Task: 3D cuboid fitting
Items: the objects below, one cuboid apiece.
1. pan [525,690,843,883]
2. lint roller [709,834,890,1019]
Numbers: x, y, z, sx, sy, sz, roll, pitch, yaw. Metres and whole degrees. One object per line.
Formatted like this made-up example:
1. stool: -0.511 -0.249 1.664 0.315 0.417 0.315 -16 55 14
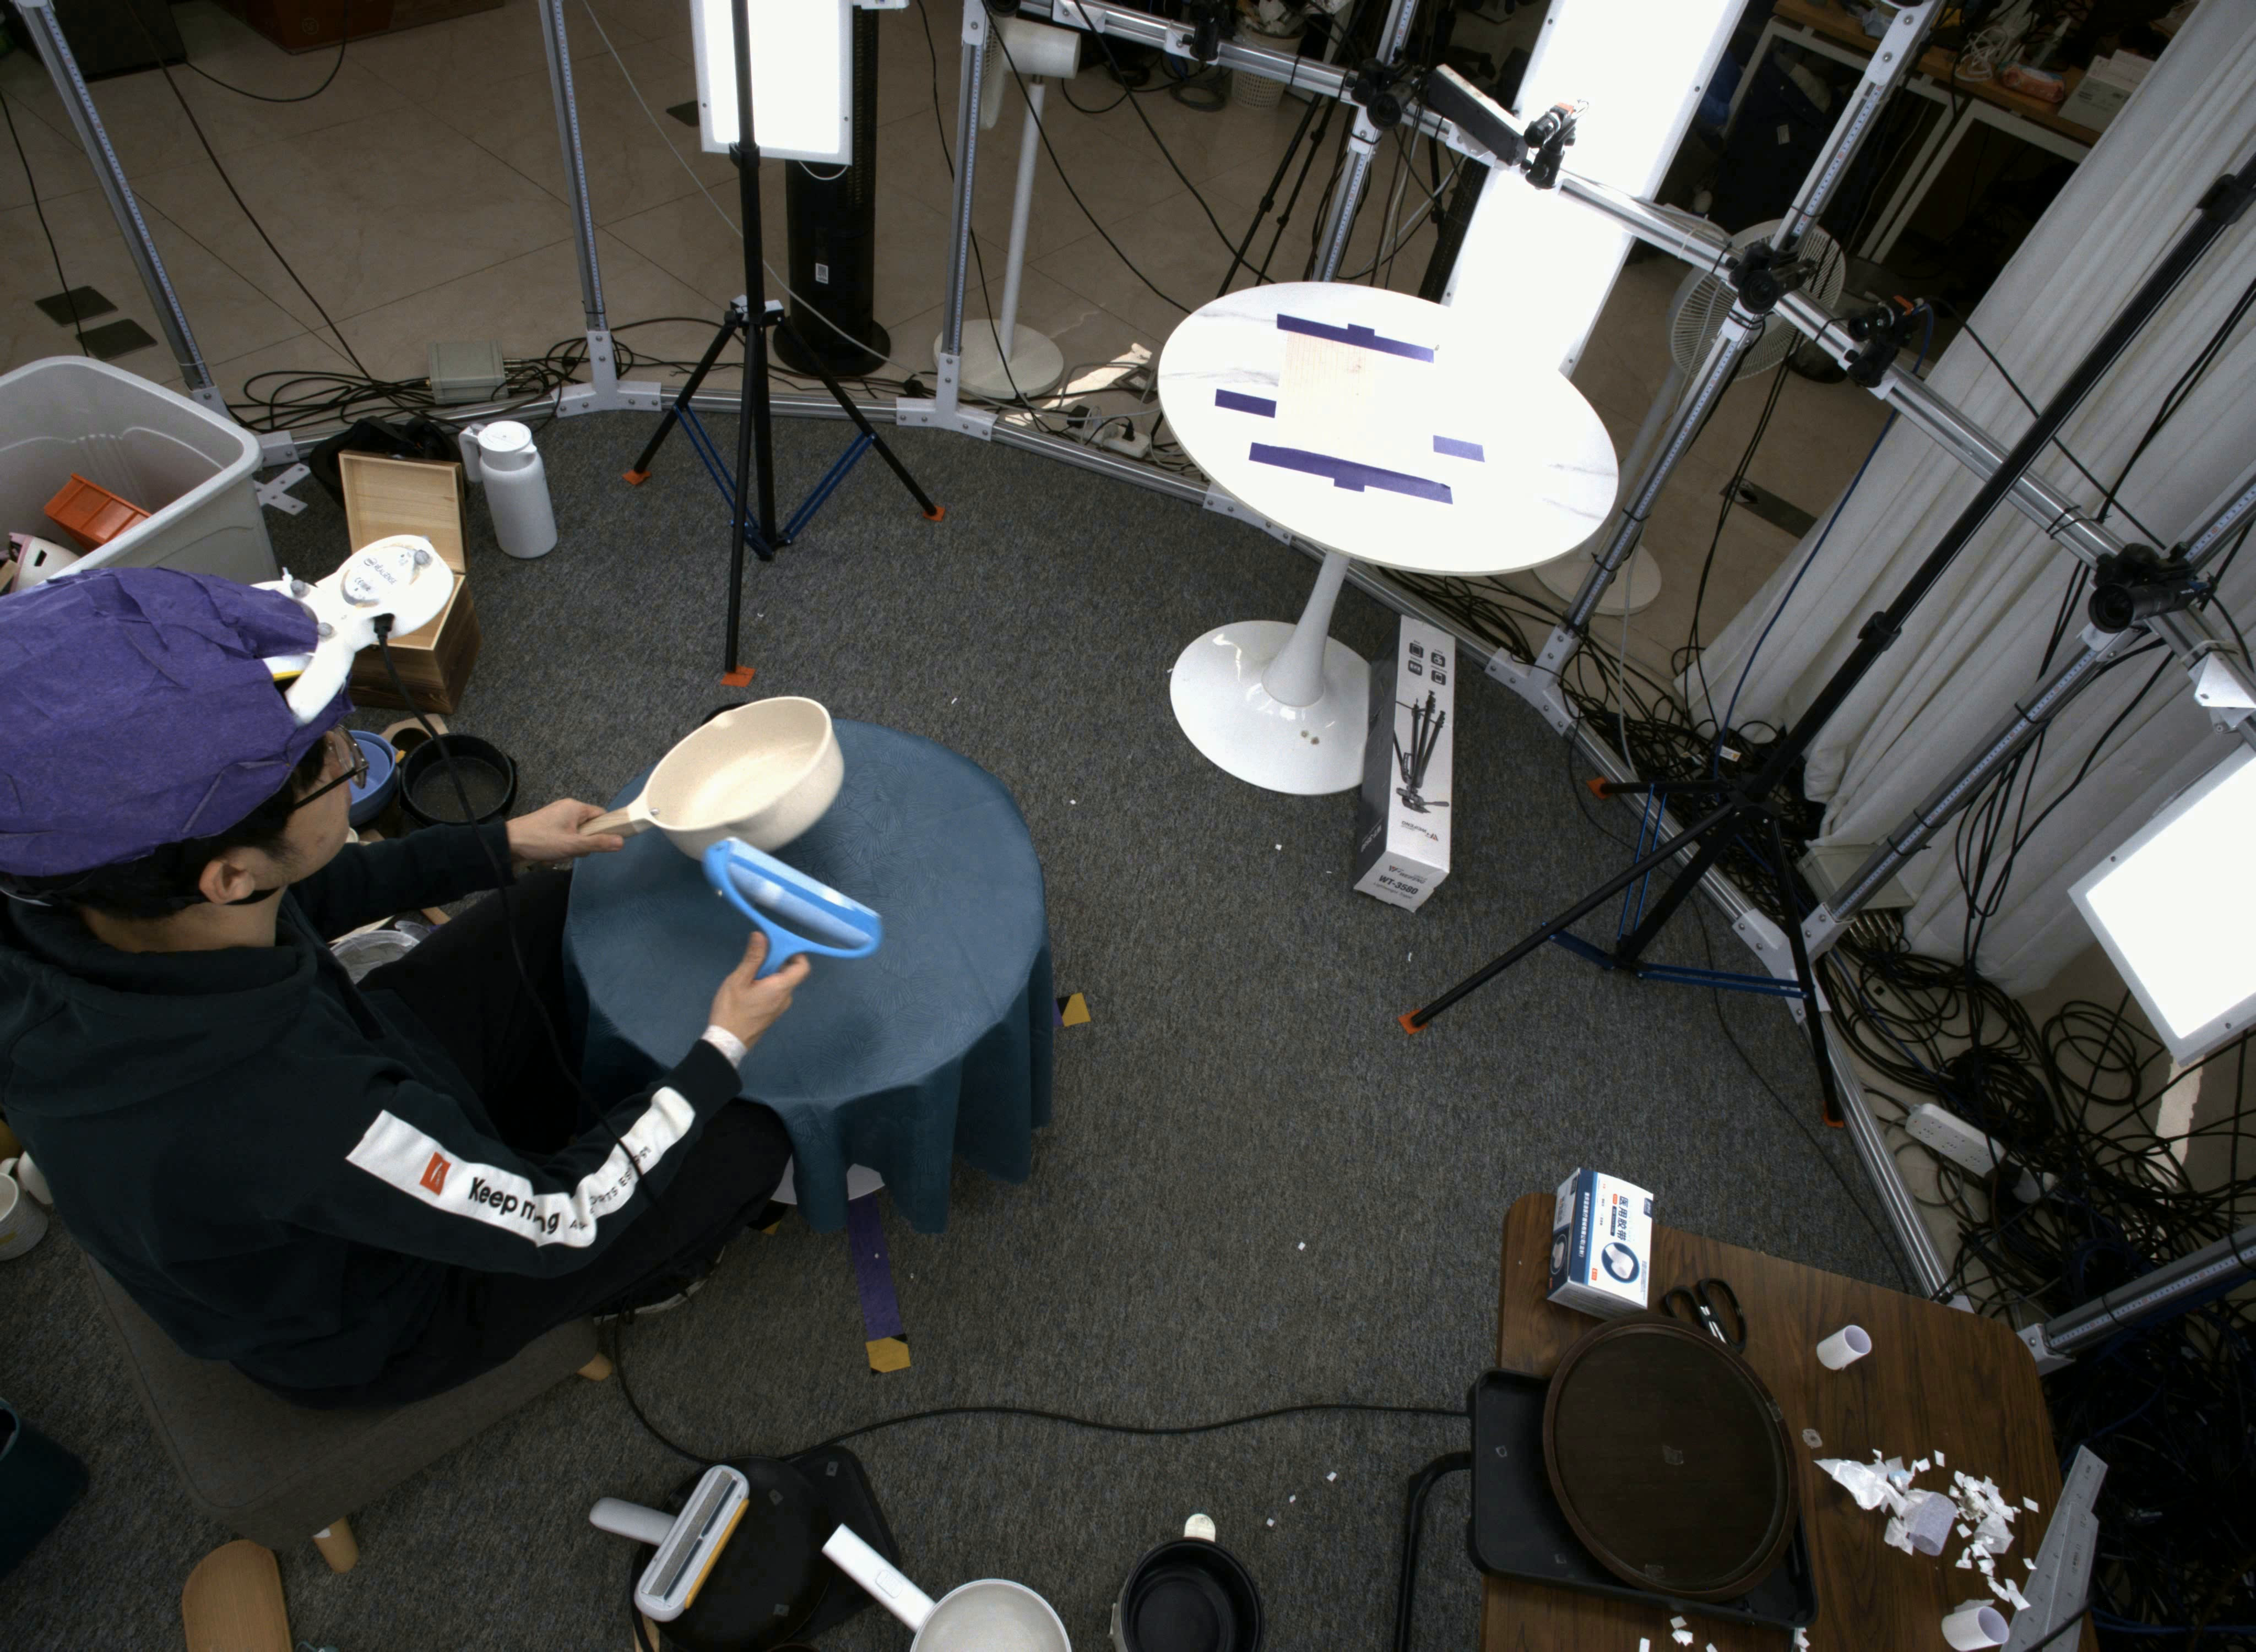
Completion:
1. pan: -0.552 -0.018 1.590 0.433 0.106 0.254 -28 43 -9
2. lint roller: -0.390 0.131 1.459 0.235 0.066 0.180 31 70 -31
